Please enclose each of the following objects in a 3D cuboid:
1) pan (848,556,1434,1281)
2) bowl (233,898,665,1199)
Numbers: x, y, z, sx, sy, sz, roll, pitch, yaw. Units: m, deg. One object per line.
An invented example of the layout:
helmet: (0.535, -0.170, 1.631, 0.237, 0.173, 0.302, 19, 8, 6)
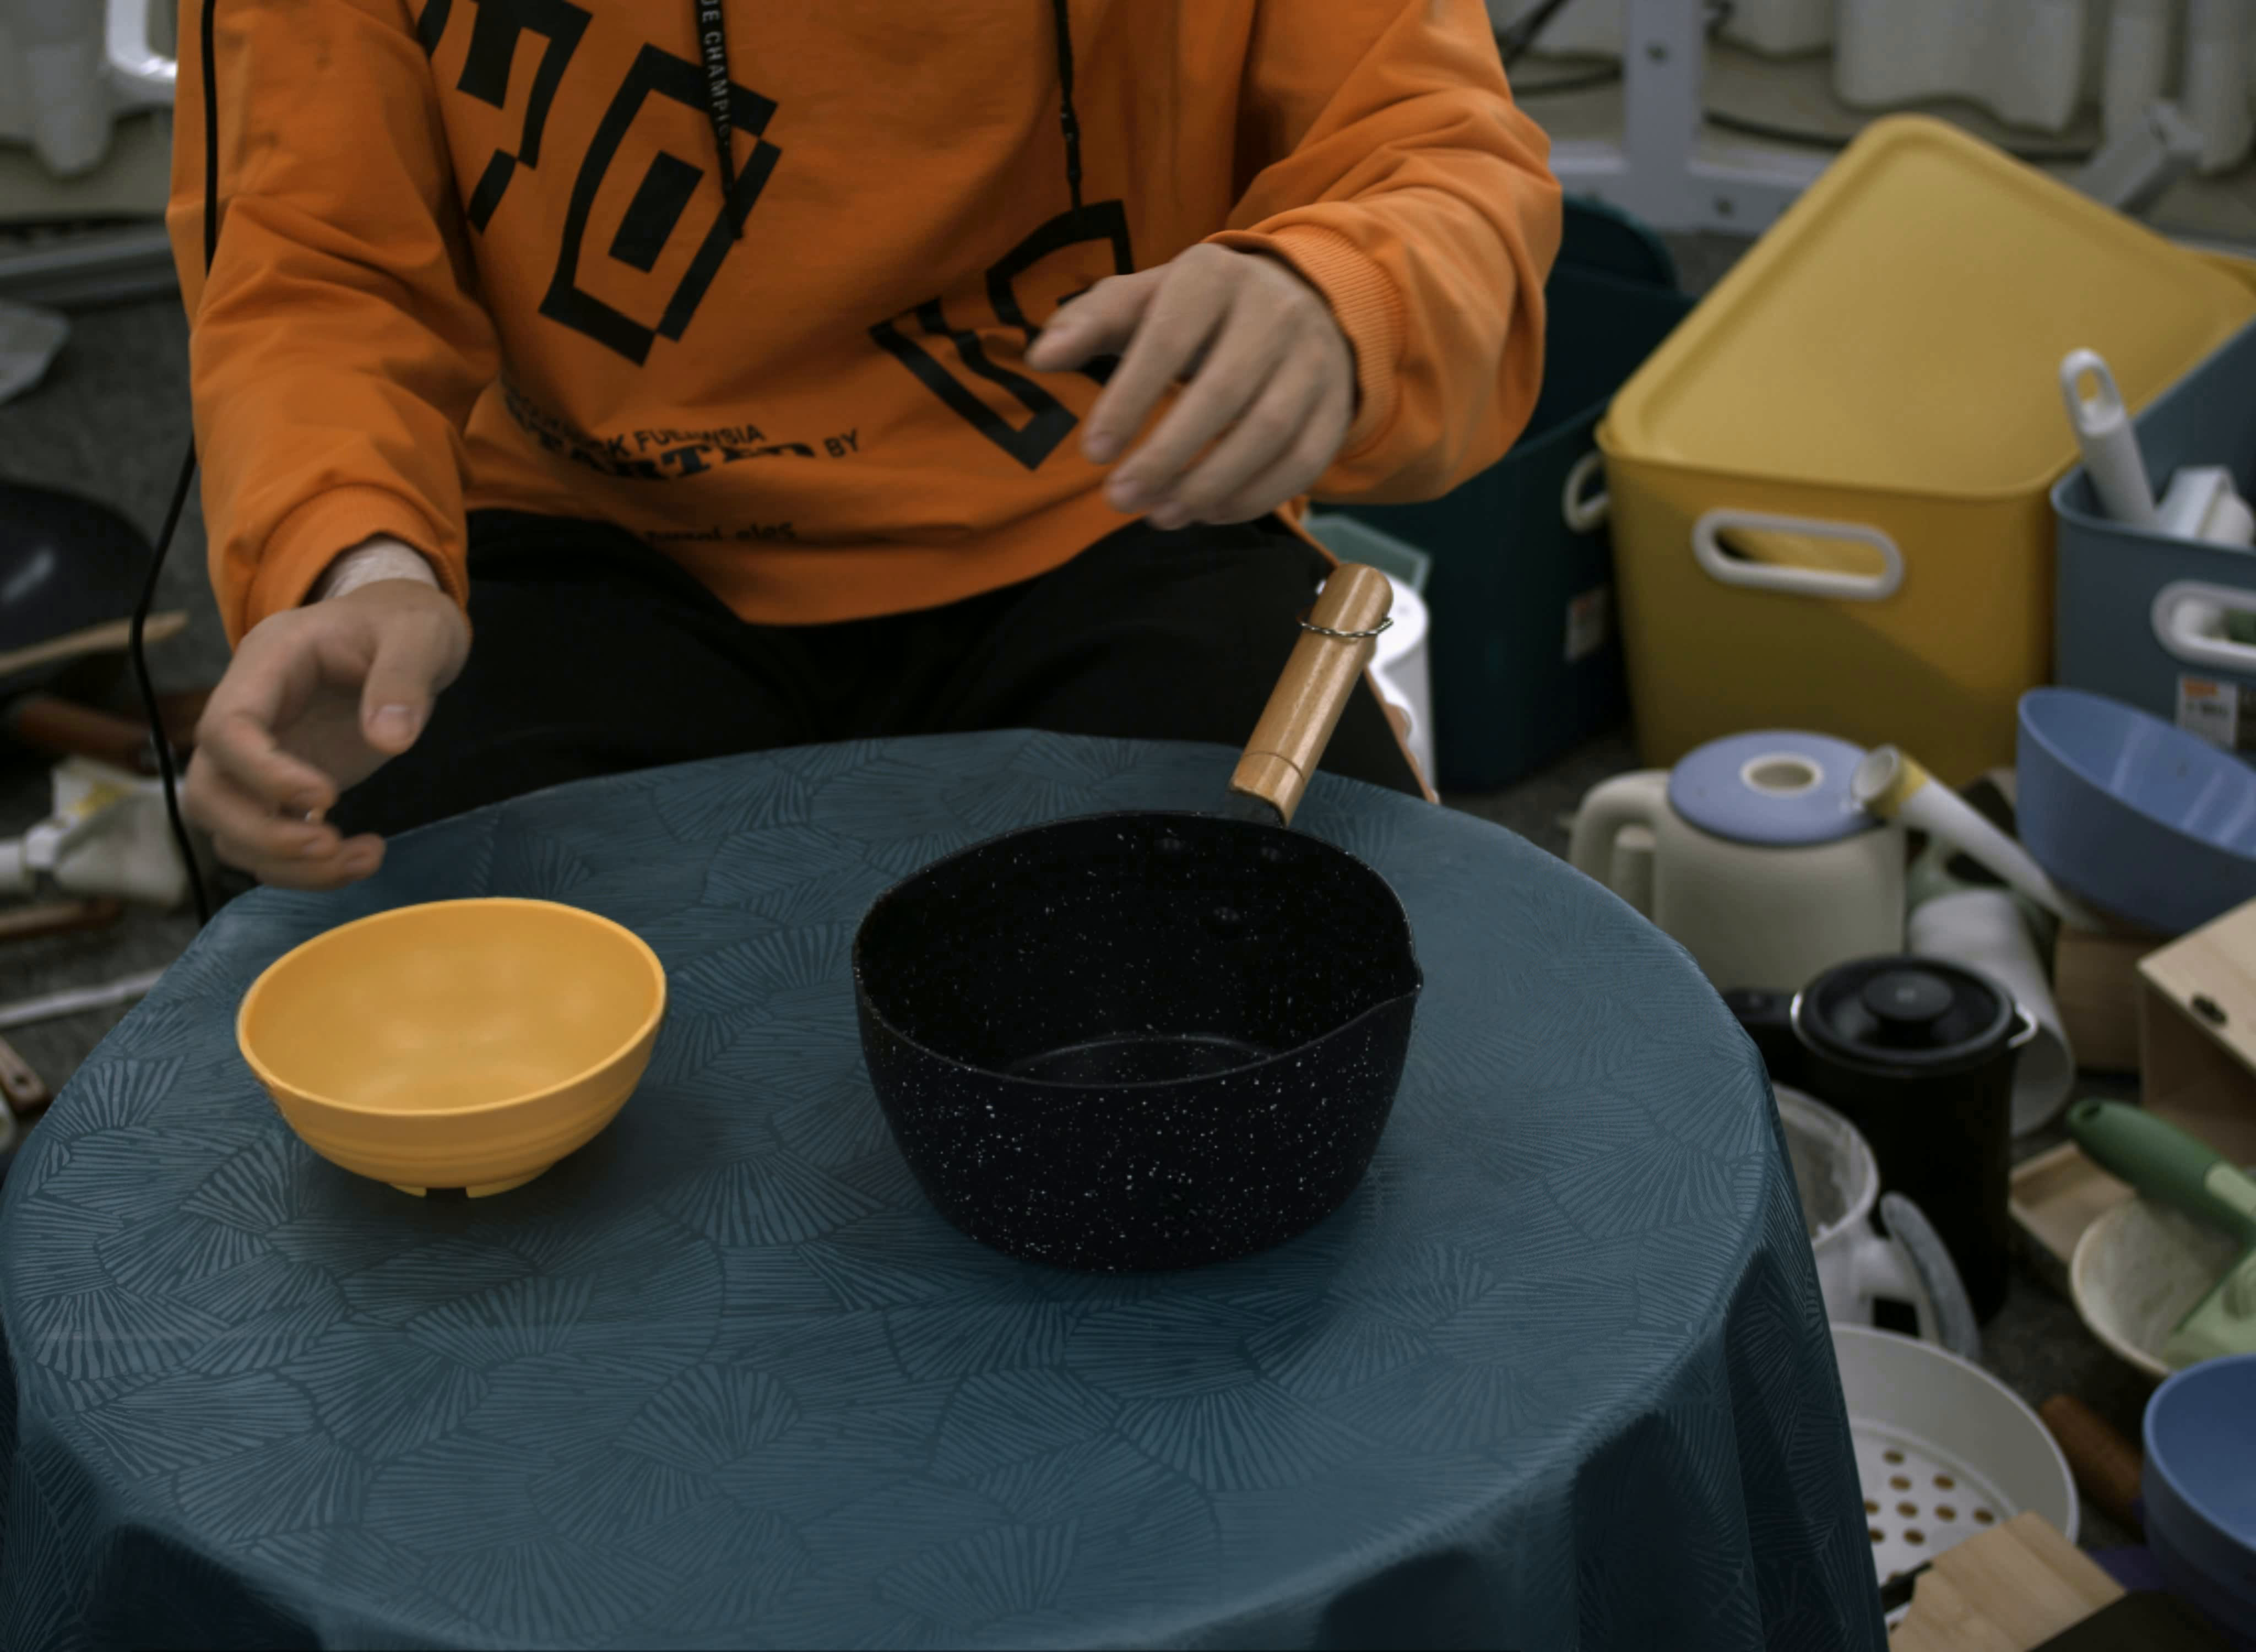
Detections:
pan: (0.029, 0.028, 1.924, 0.206, 0.107, 0.349, 5, 30, 19)
bowl: (-0.226, 0.085, 1.893, 0.144, 0.059, 0.147, -1, 27, 1)
